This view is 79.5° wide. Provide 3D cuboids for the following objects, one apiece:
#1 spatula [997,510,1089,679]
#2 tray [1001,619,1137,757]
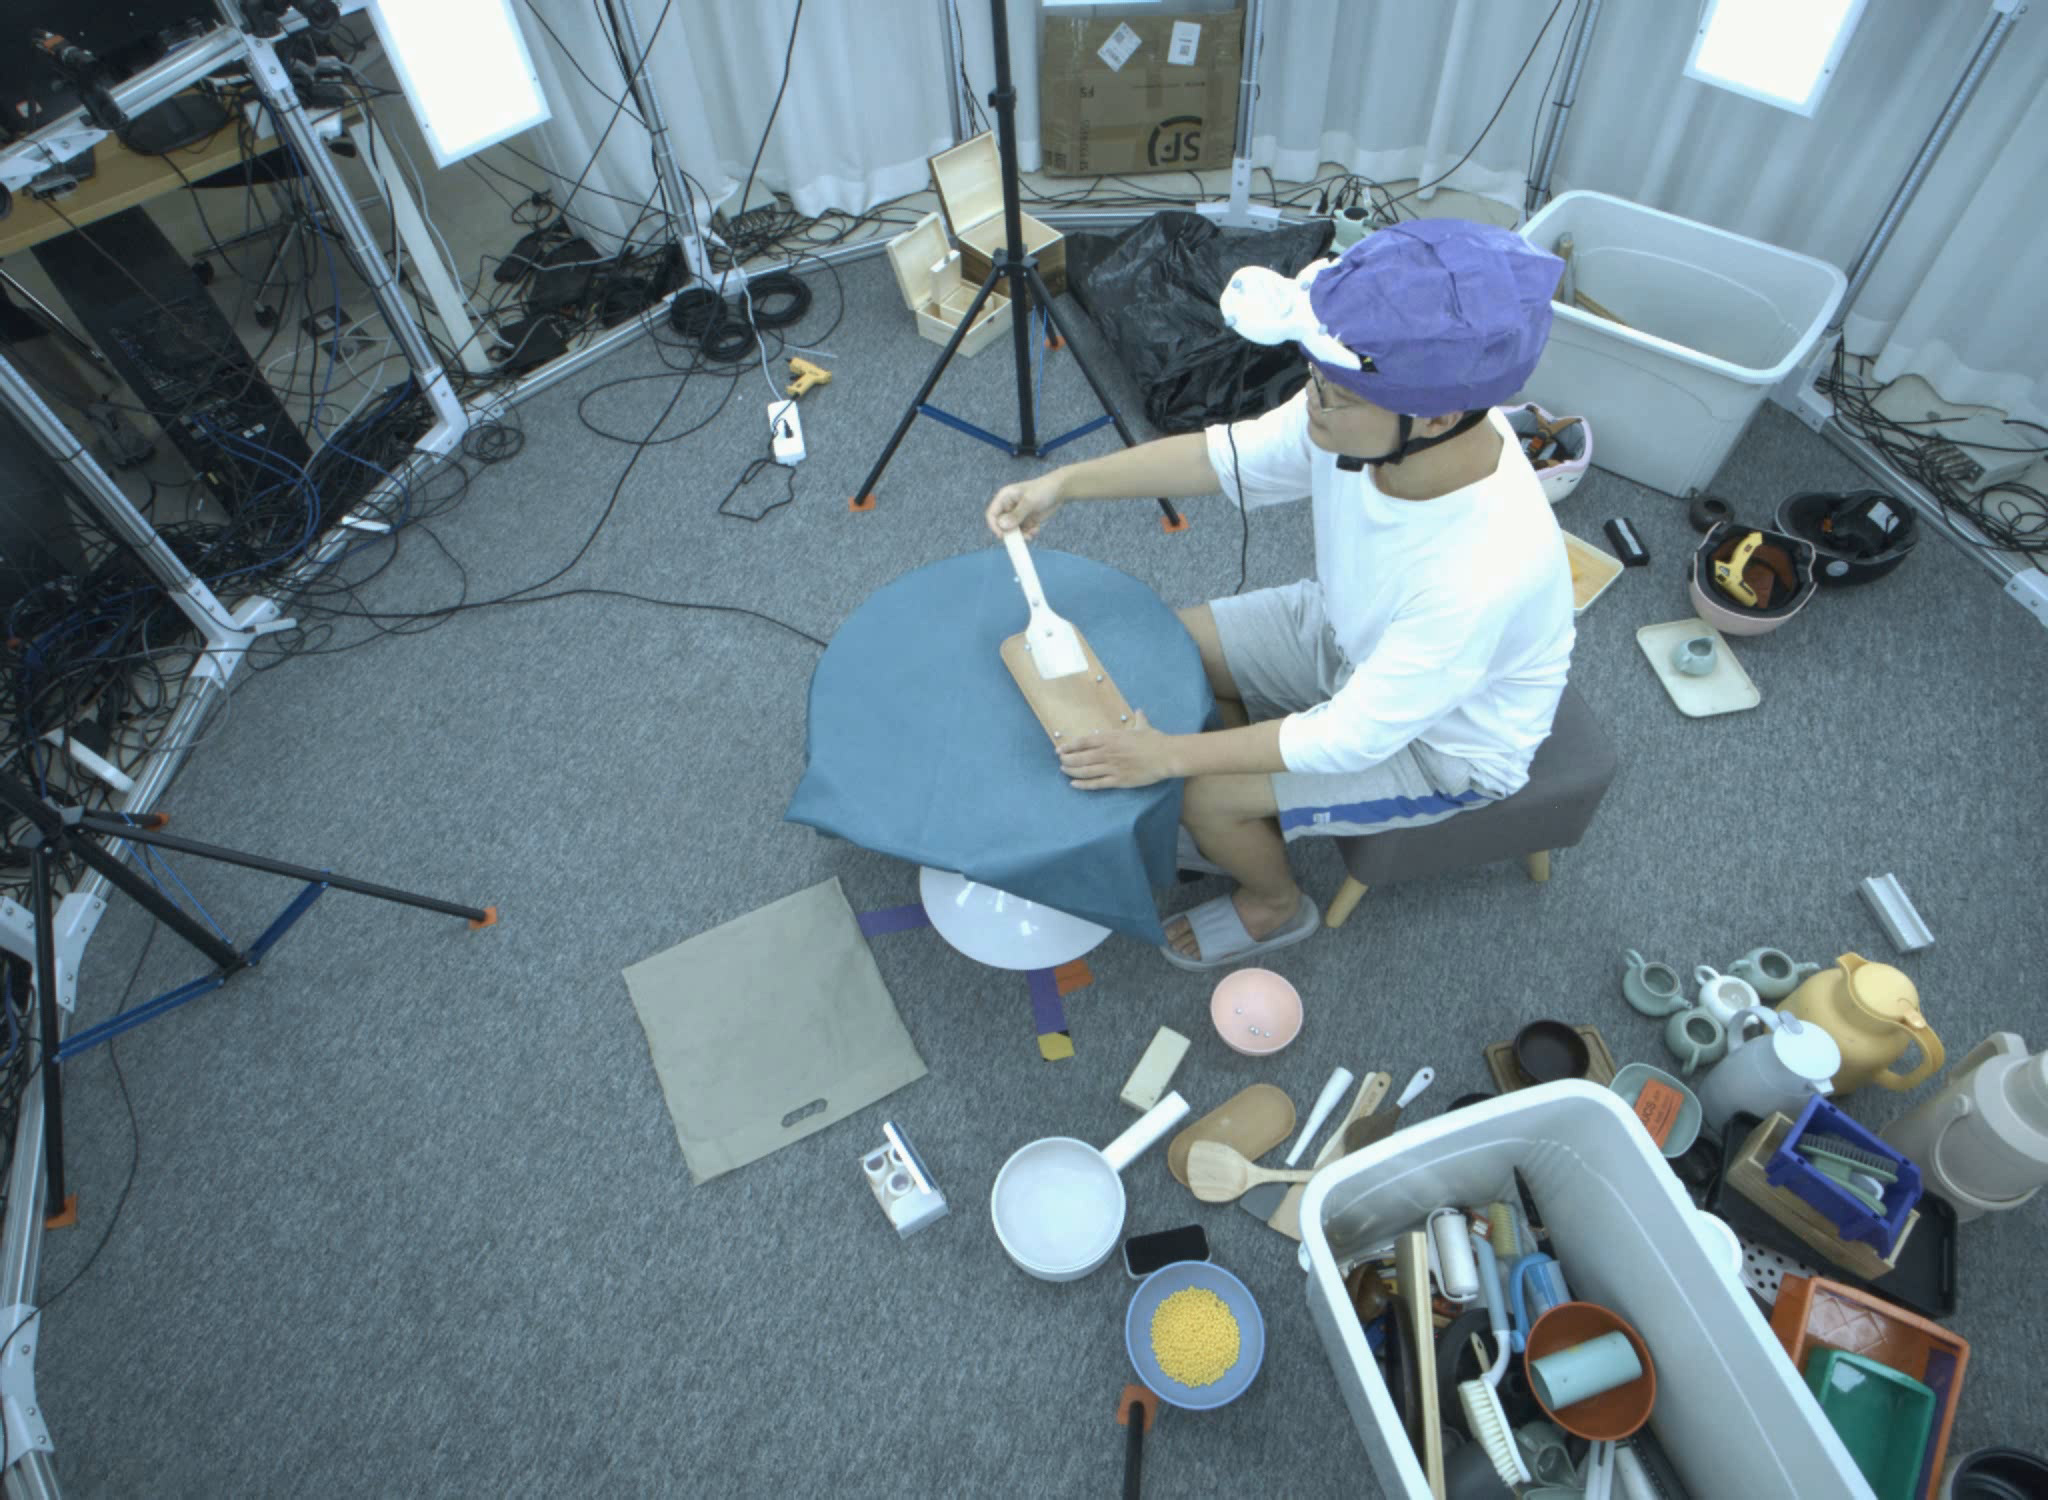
[{"bbox_3d":[0.013,-0.231,1.776,0.073,0.011,0.289,-15,68,-13],"label":"spatula"},{"bbox_3d":[0.064,-0.096,1.843,0.132,0.023,0.246,-19,55,-15],"label":"tray"}]
